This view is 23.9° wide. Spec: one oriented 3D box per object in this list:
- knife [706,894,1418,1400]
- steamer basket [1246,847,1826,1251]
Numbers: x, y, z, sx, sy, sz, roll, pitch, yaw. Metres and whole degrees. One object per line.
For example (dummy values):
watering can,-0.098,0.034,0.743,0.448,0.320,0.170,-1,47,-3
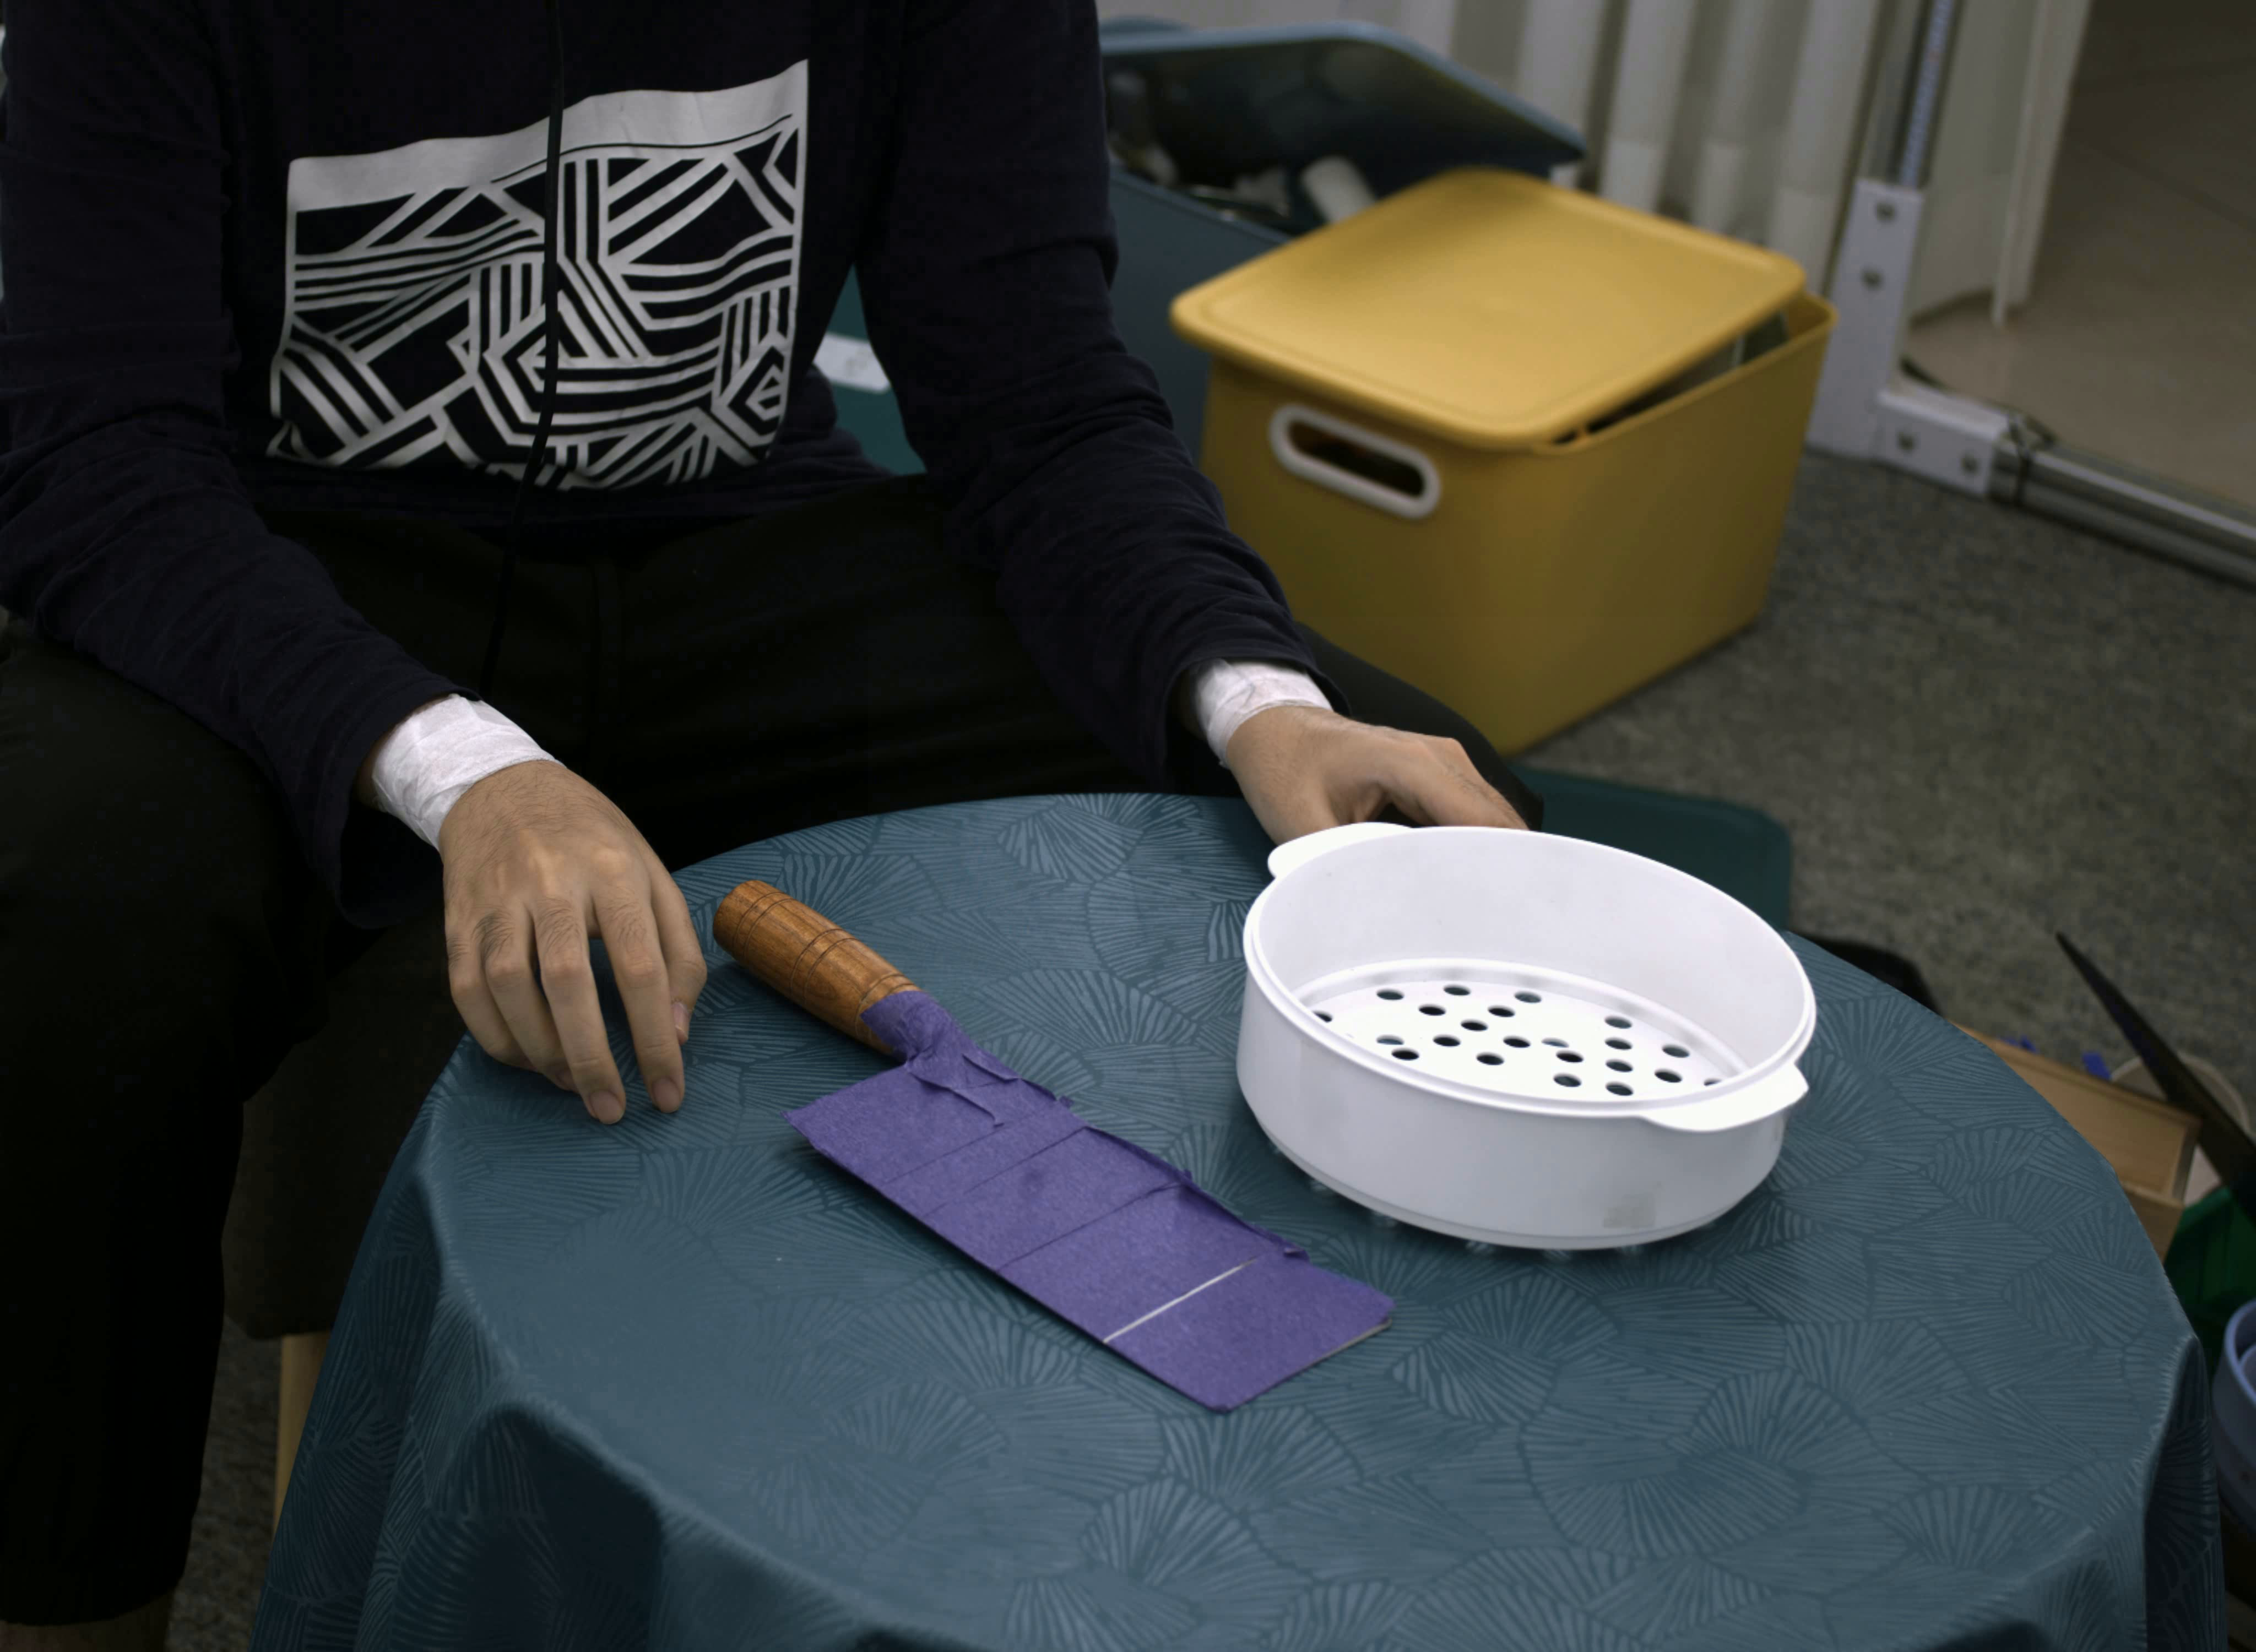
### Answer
knife,-0.049,0.105,1.802,0.317,0.032,0.103,28,34,36
steamer basket,0.139,0.078,1.856,0.200,0.069,0.232,-14,30,-37
